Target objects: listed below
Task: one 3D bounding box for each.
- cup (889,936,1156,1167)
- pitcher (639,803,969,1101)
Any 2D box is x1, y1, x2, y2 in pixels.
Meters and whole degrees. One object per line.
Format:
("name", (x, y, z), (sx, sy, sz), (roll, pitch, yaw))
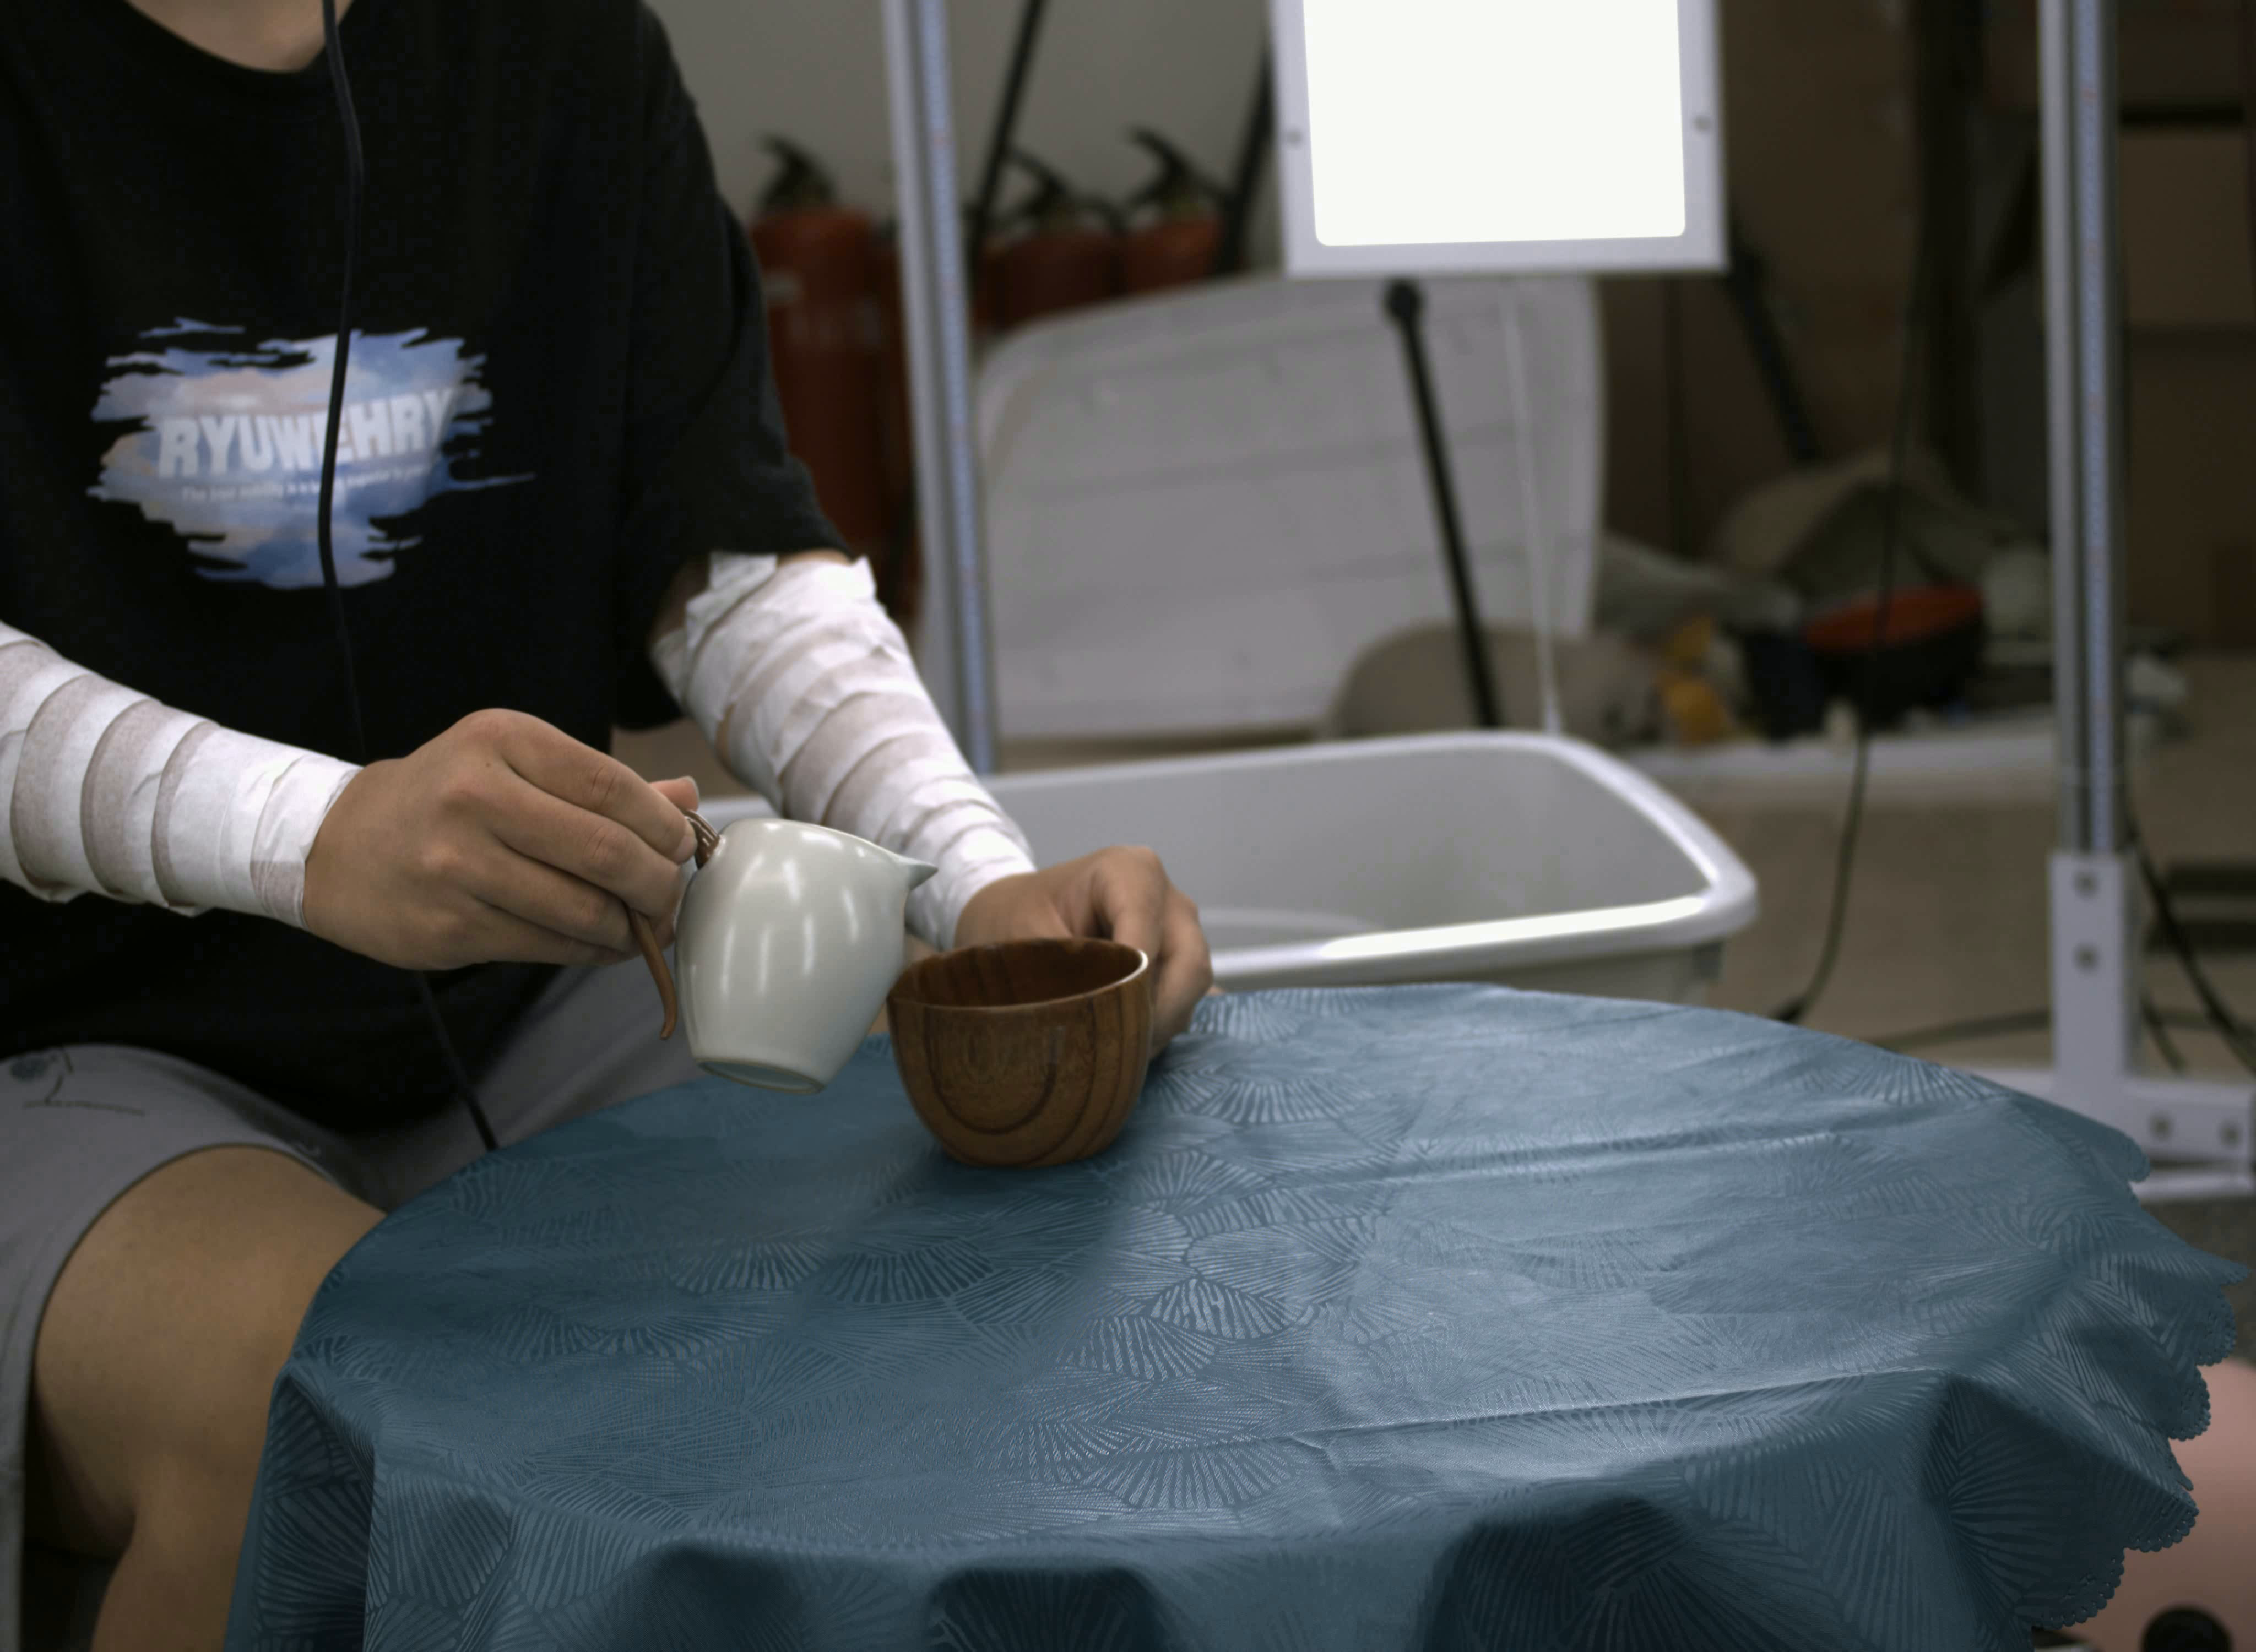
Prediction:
("cup", (-0.030, 0.079, 1.967), (0.098, 0.068, 0.117), (-2, 12, 27))
("pitcher", (-0.114, 0.041, 1.852), (0.117, 0.087, 0.077), (20, -18, -21))
